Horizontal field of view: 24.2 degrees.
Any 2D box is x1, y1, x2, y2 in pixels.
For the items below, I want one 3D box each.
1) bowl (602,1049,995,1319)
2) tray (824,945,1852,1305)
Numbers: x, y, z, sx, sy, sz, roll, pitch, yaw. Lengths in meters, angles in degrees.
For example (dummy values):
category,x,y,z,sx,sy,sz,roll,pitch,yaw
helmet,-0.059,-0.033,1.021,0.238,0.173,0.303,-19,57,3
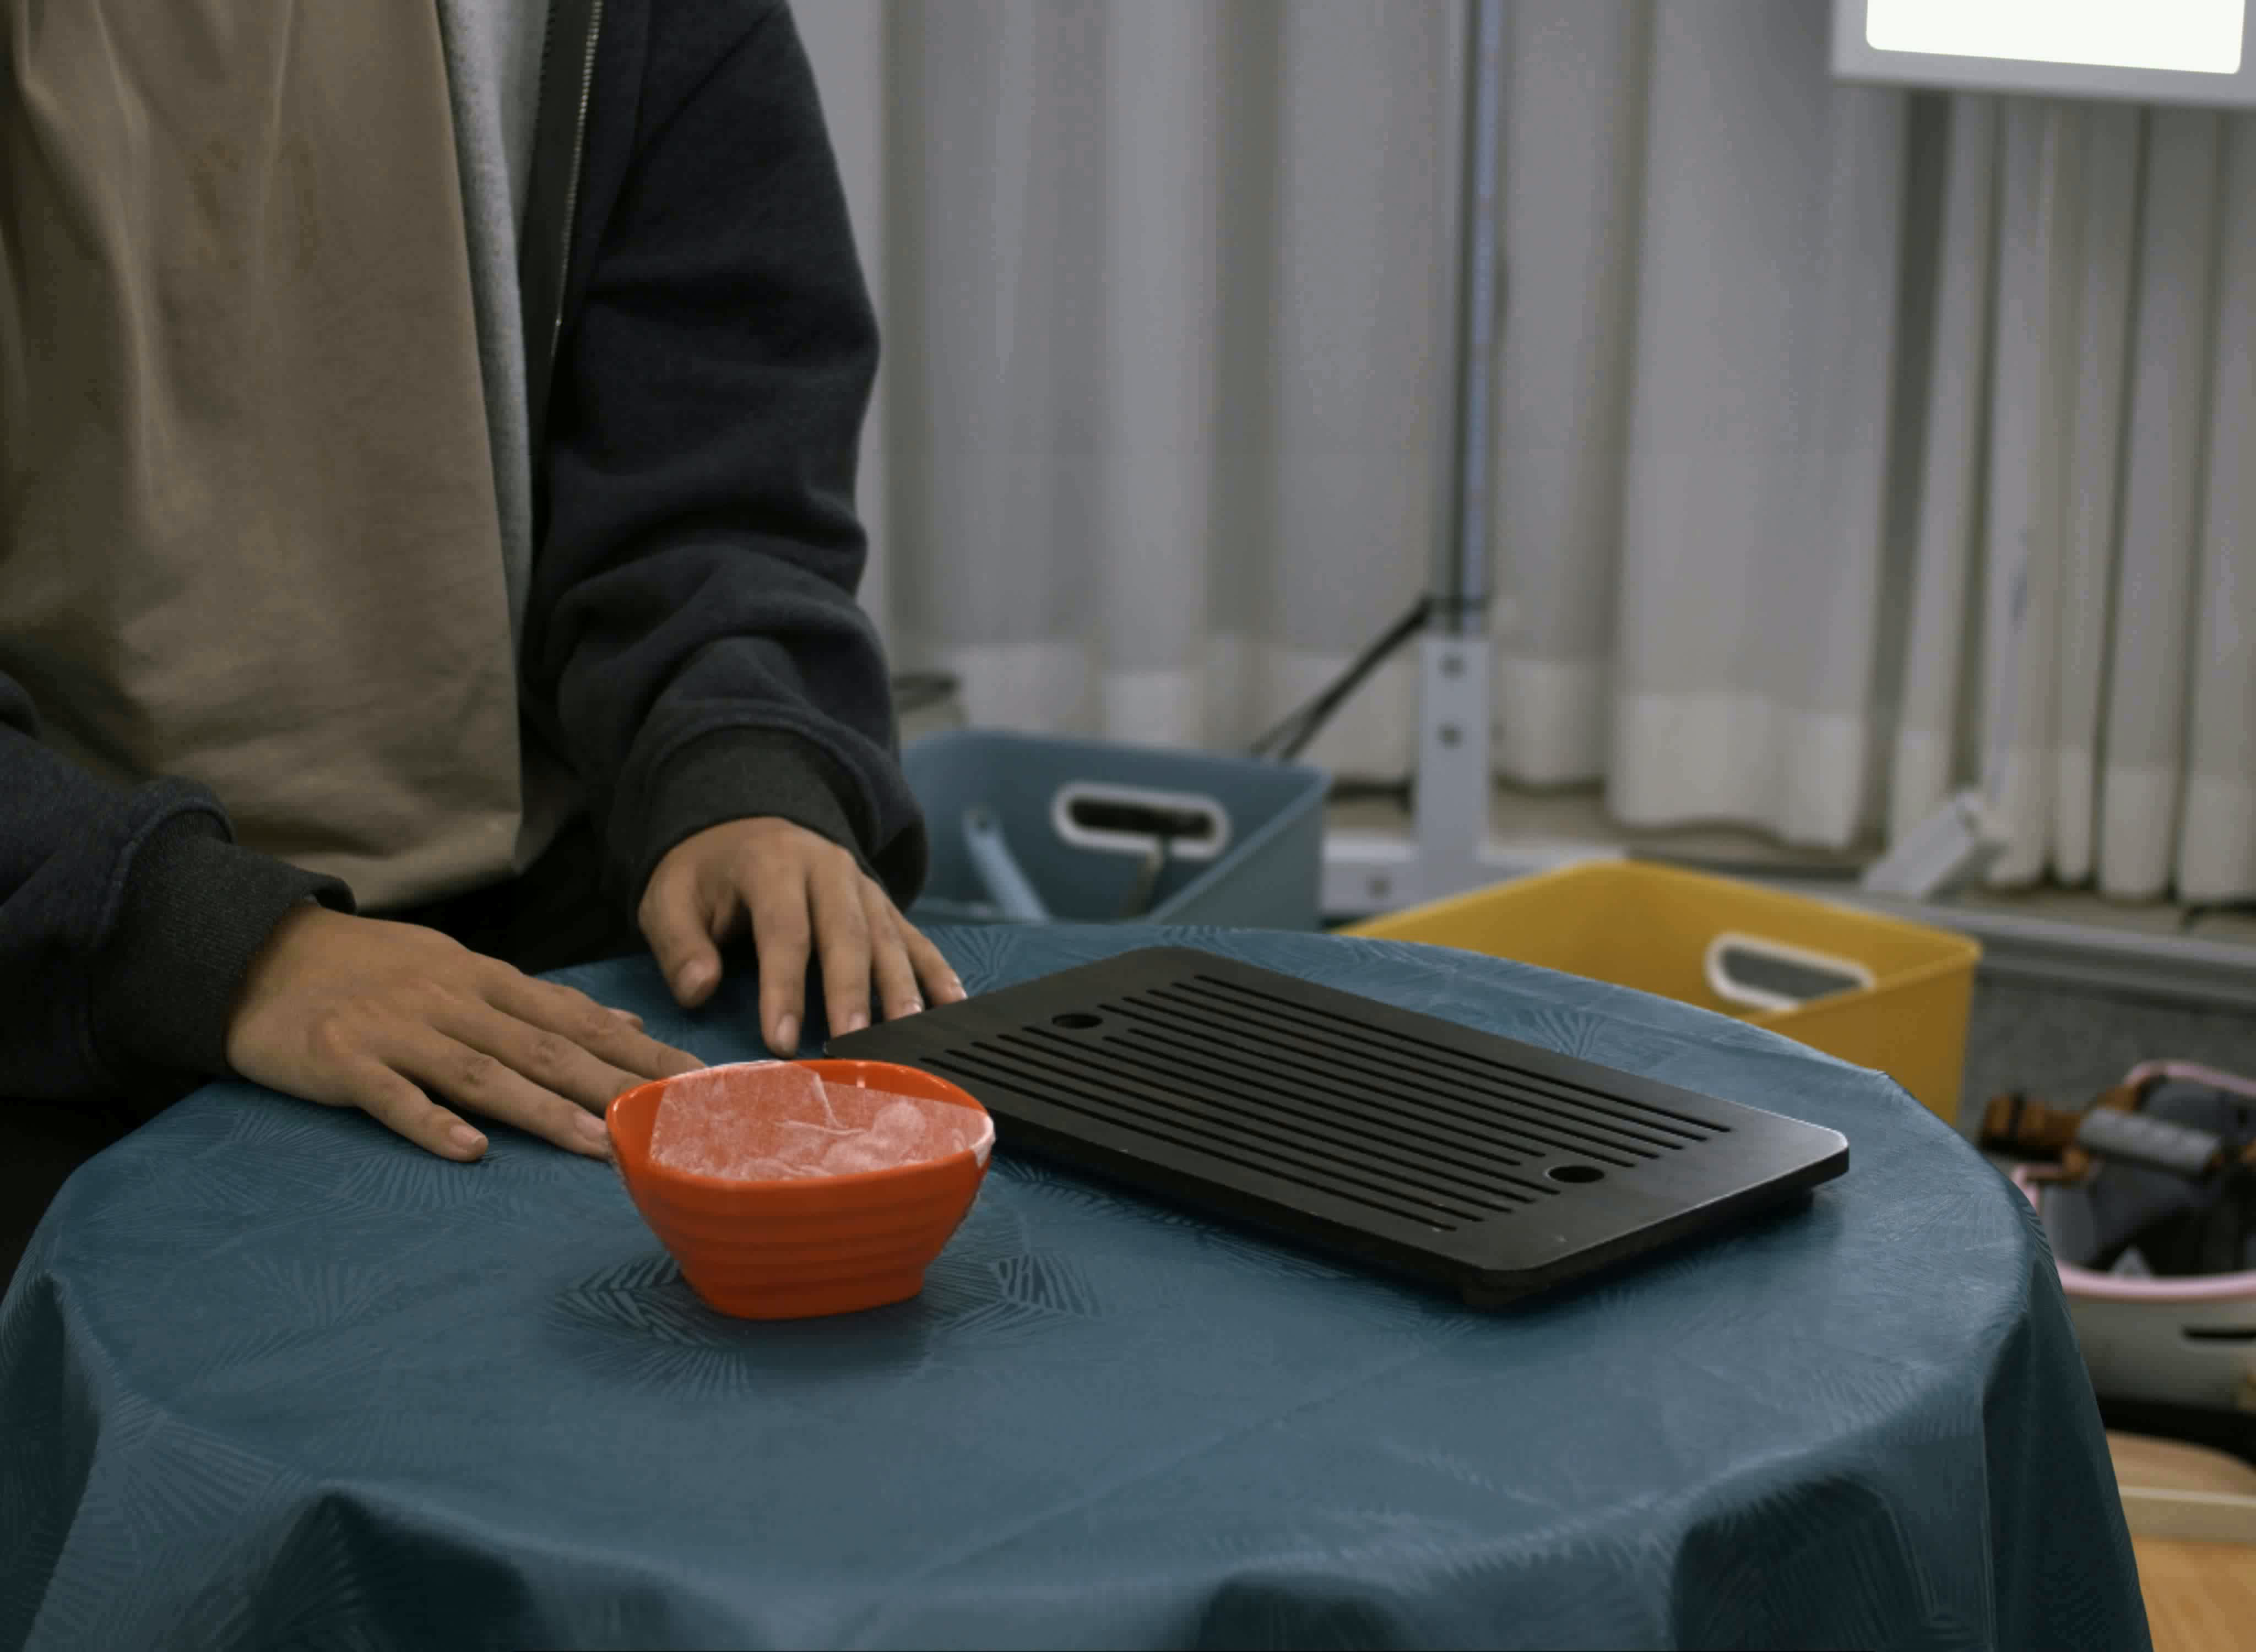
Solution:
category,x,y,z,sx,sy,sz,roll,pitch,yaw
bowl,-0.096,0.107,1.538,0.118,0.052,0.118,0,17,0
tray,0.062,0.091,1.668,0.302,0.019,0.171,15,21,42
